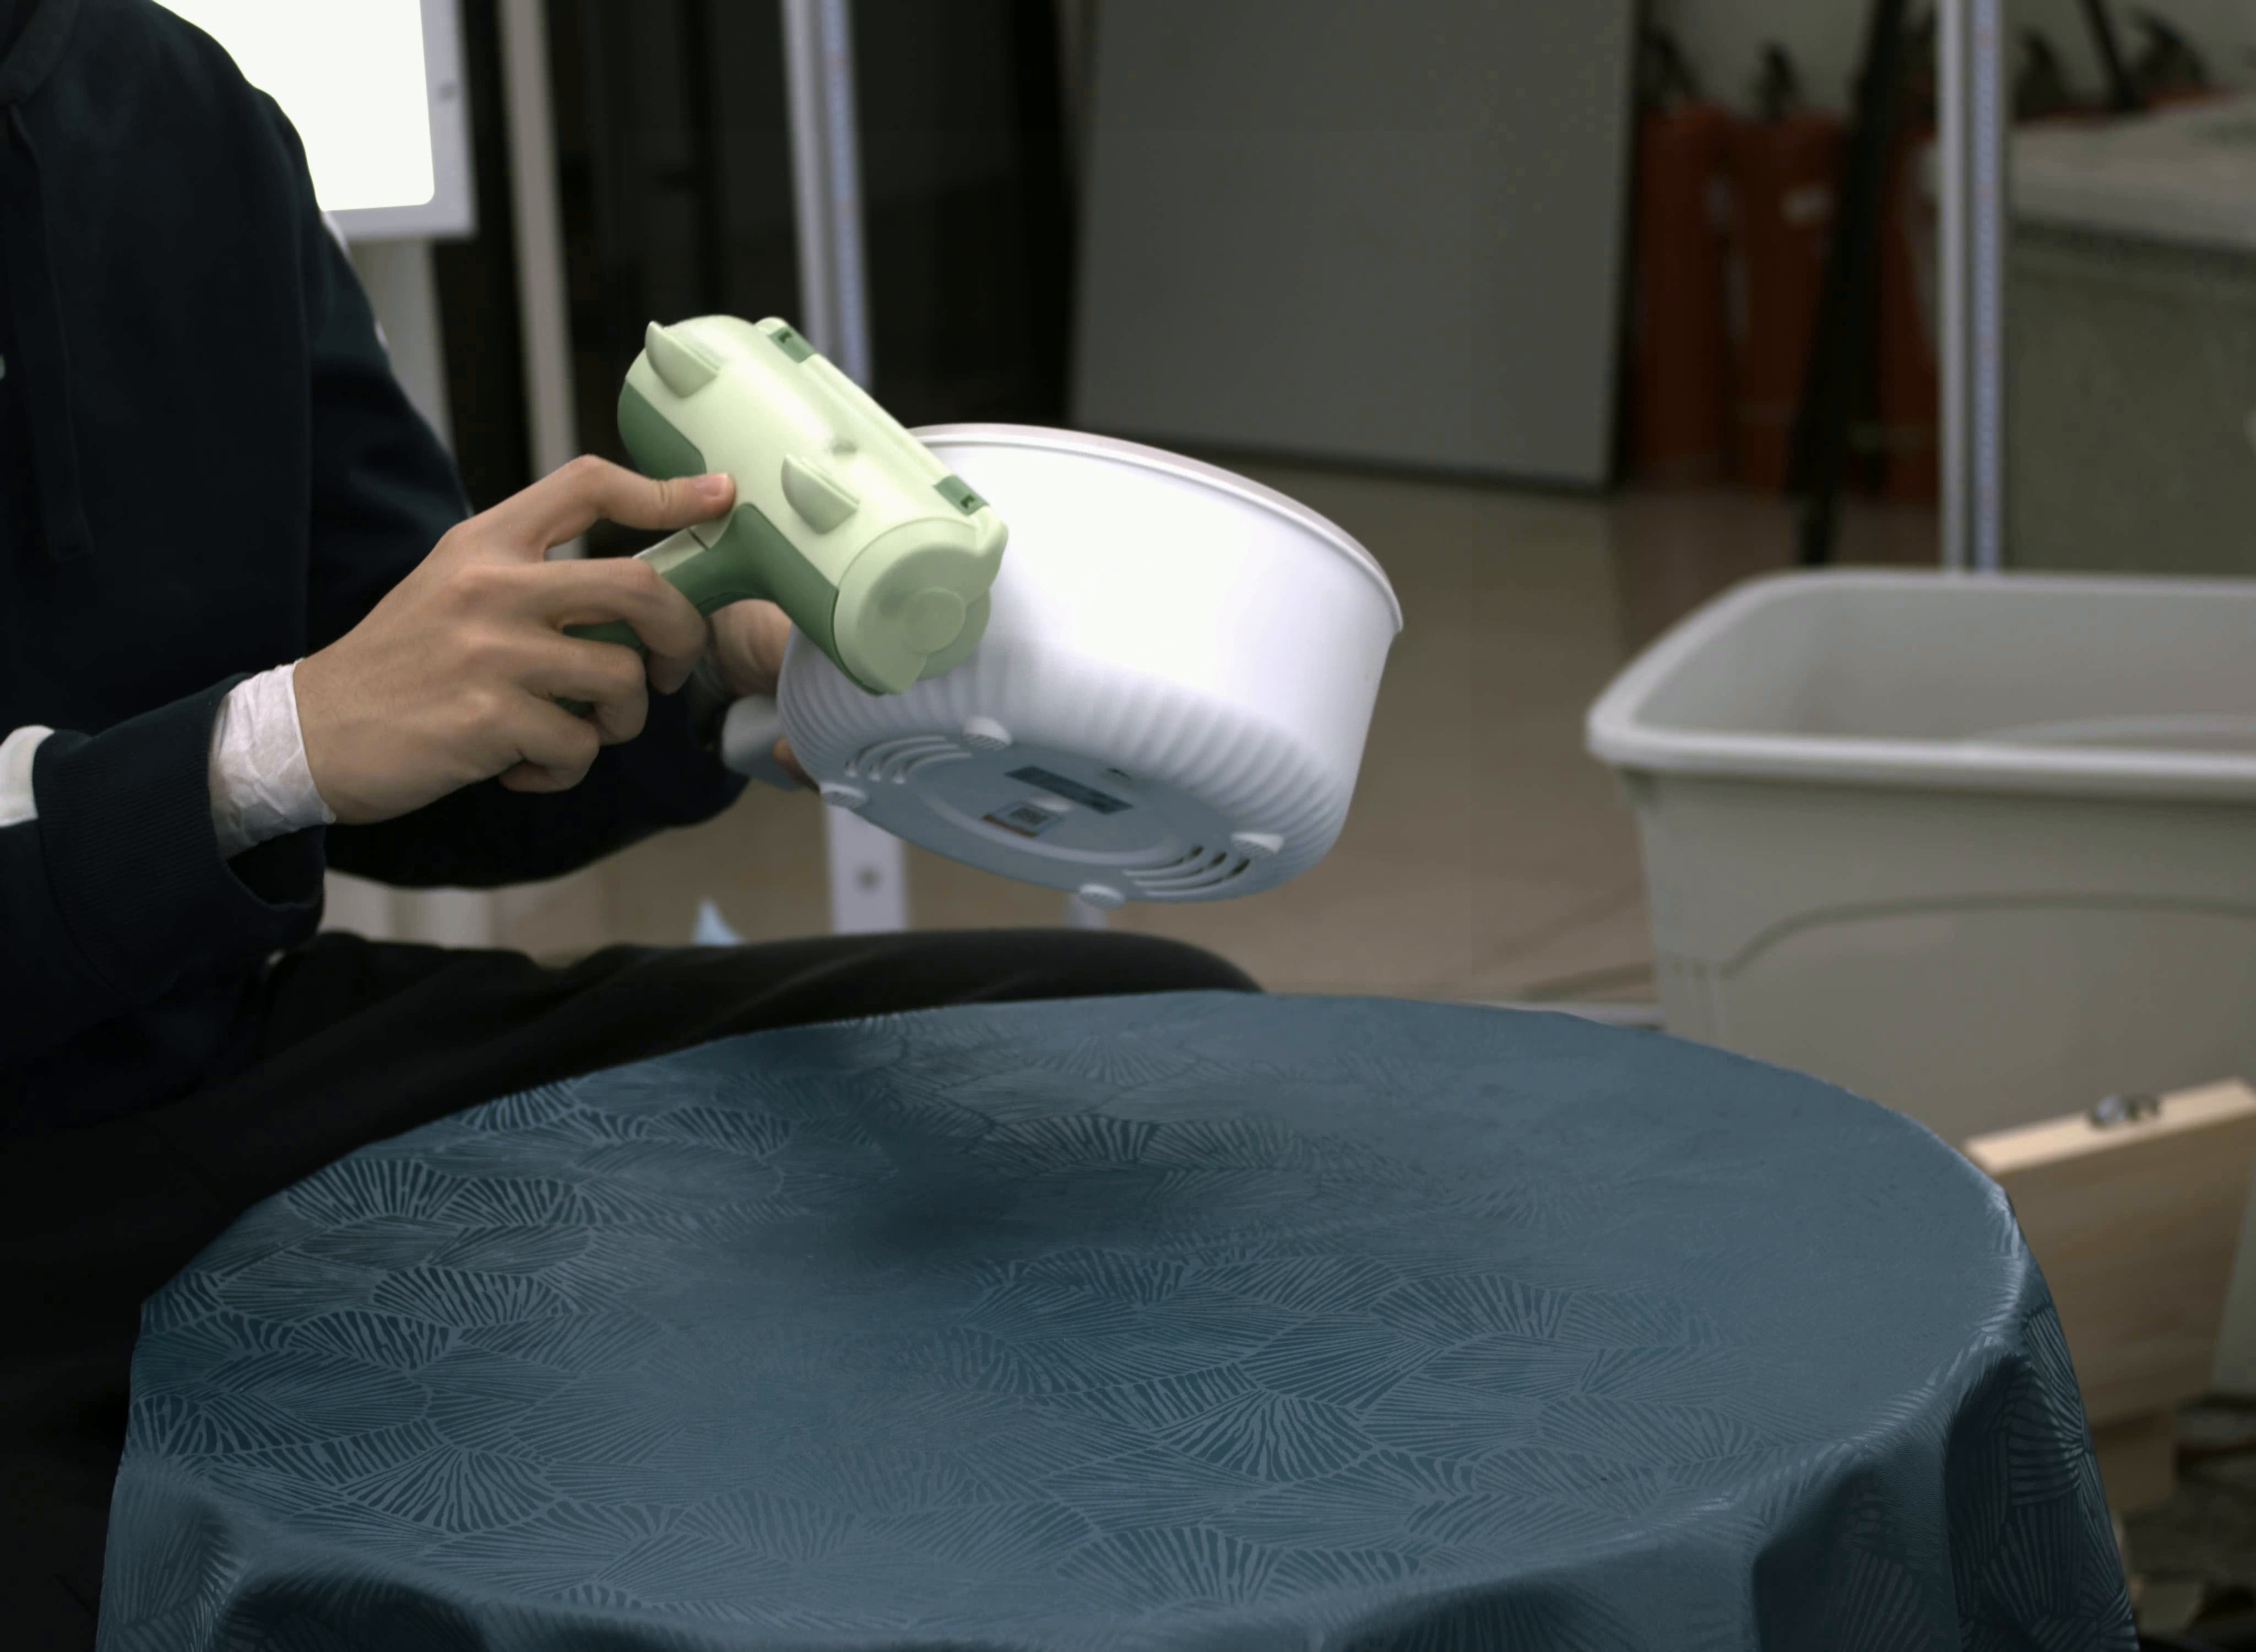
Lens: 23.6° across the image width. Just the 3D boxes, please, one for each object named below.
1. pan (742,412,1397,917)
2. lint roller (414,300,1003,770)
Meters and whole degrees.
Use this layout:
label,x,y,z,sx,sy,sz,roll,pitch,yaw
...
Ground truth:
label,x,y,z,sx,sy,sz,roll,pitch,yaw
pan,-0.053,-0.031,1.848,0.197,0.103,0.358,22,-21,-22
lint roller,-0.153,-0.089,1.700,0.181,0.082,0.201,-28,34,-12
